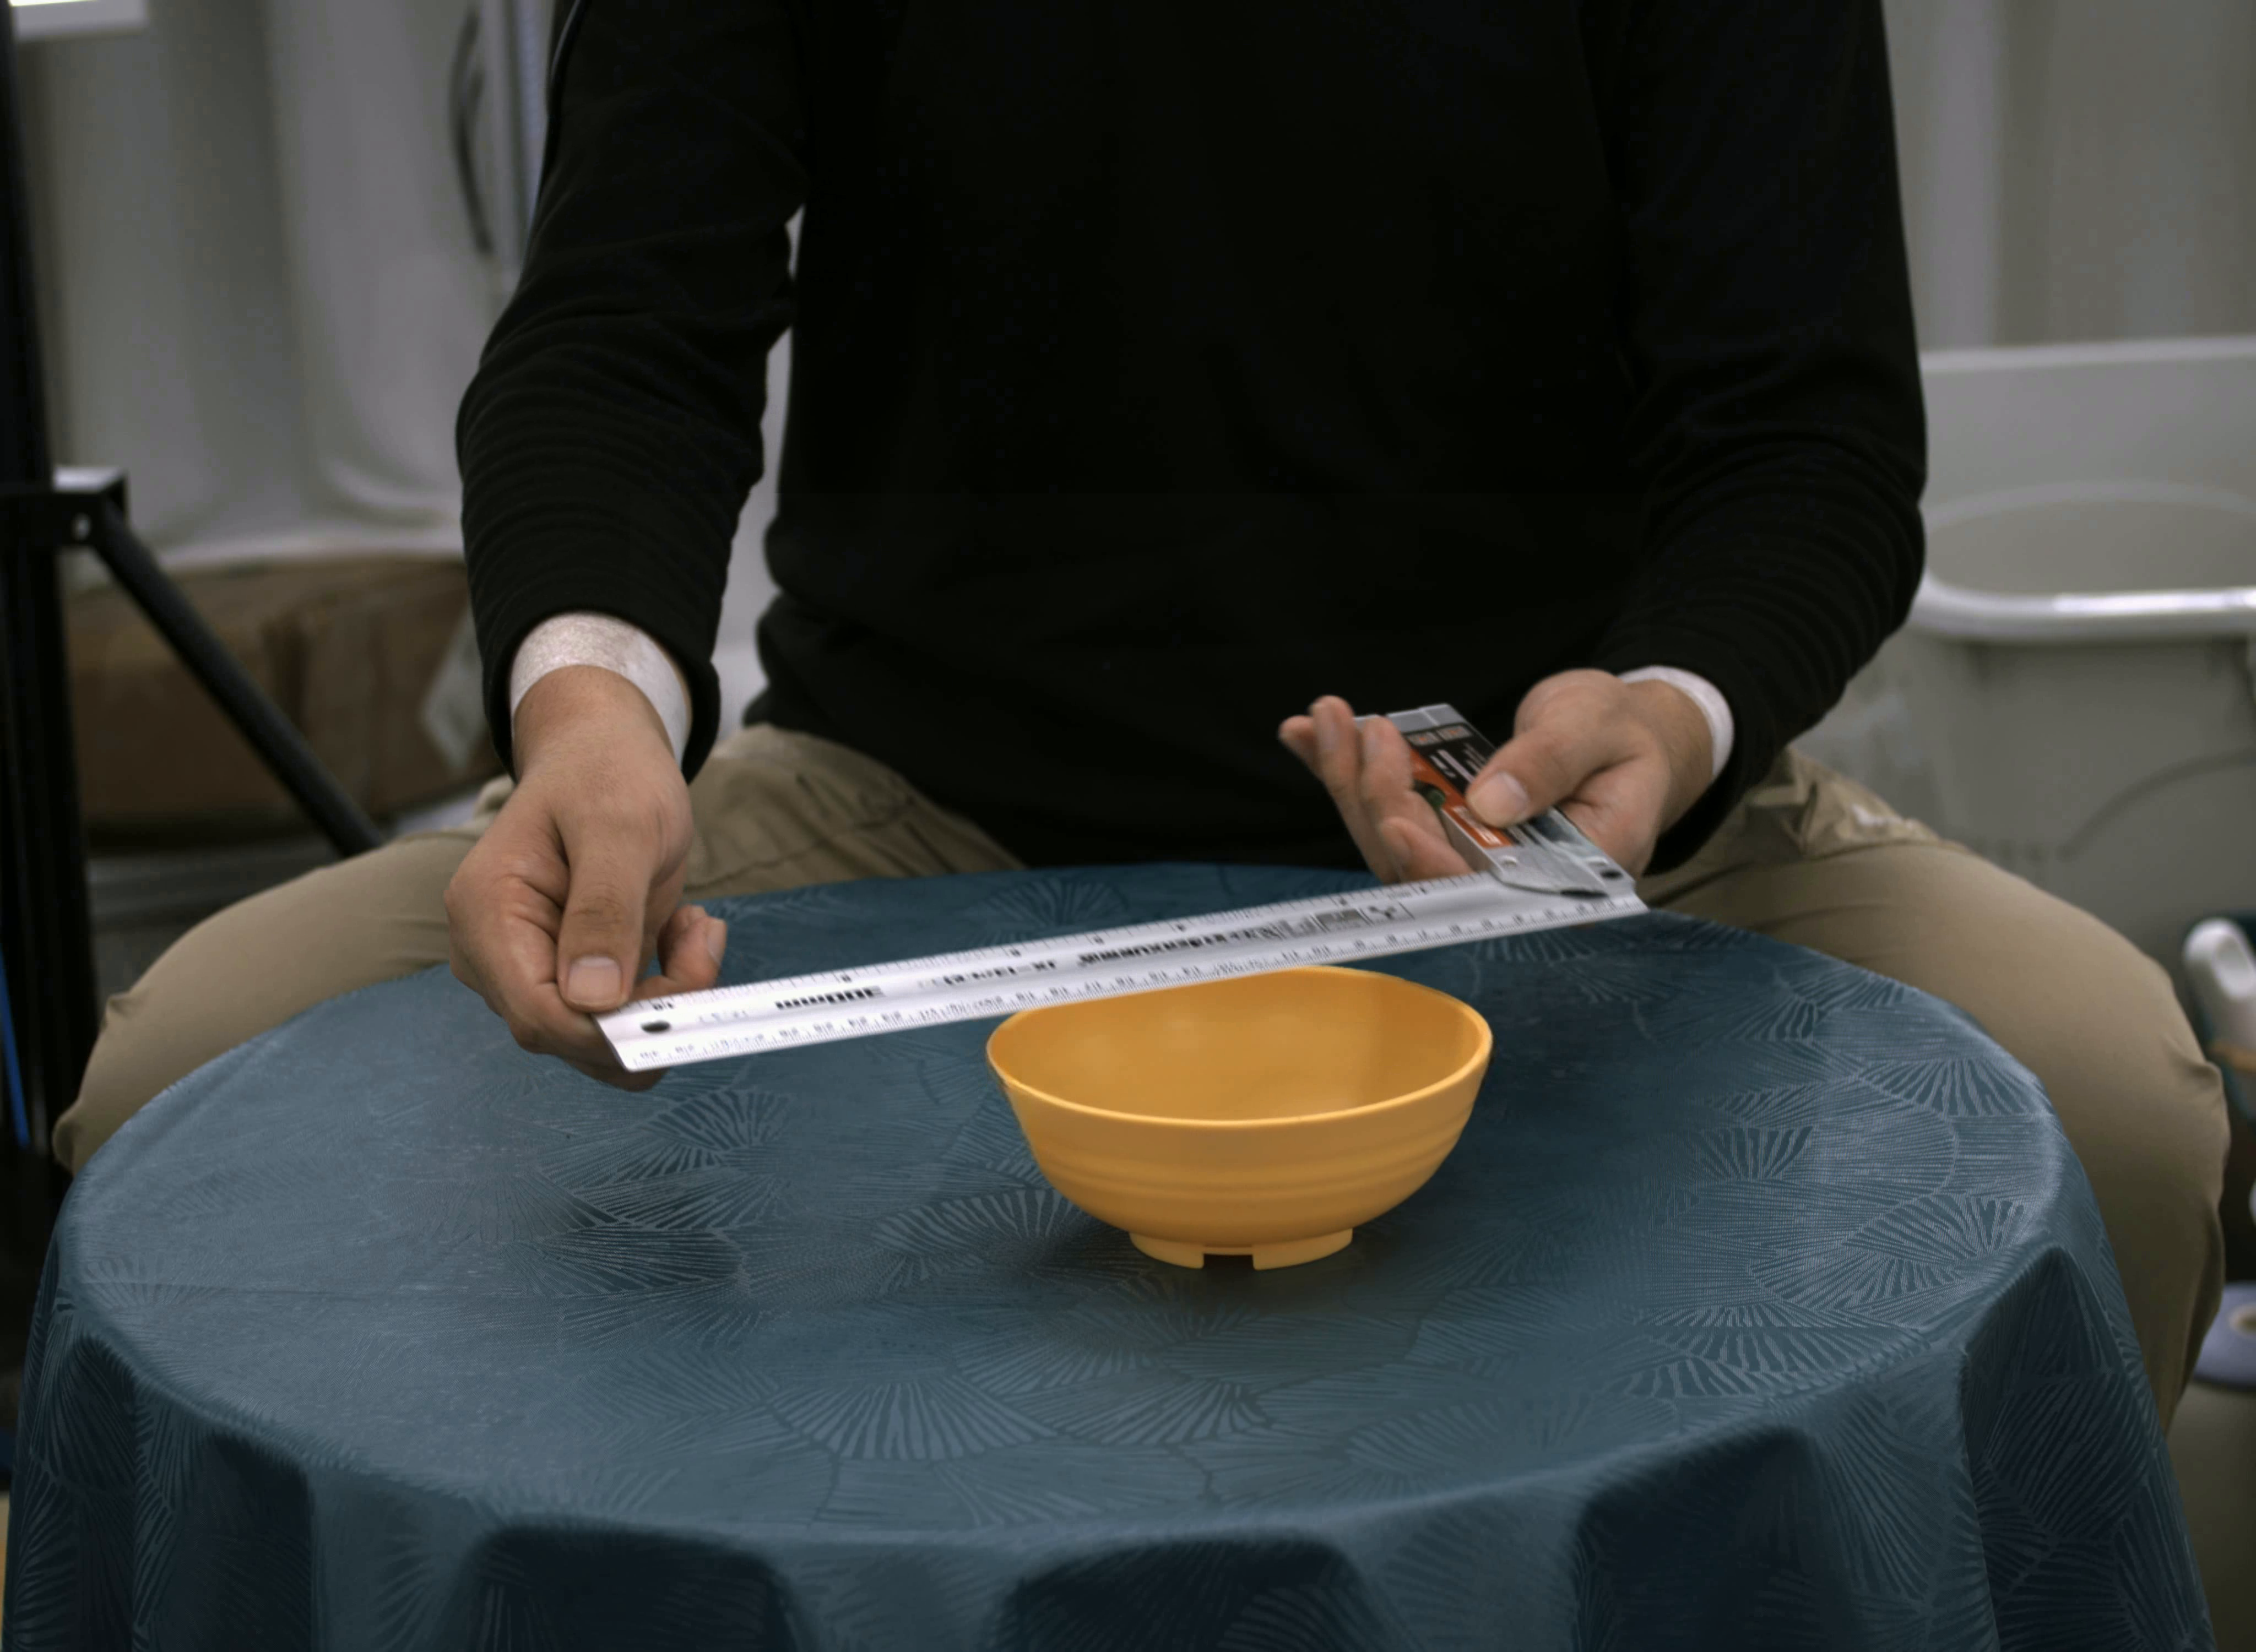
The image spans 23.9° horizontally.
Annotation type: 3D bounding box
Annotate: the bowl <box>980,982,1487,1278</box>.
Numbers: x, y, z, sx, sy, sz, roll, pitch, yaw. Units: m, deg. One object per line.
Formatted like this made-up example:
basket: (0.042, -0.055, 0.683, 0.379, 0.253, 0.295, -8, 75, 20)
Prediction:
bowl: (0.030, 0.091, 1.514, 0.144, 0.060, 0.146, -1, 13, -1)

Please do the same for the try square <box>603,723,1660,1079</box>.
try square: (-0.013, 0.021, 1.563, 0.308, 0.016, 0.155, -8, 24, -16)
